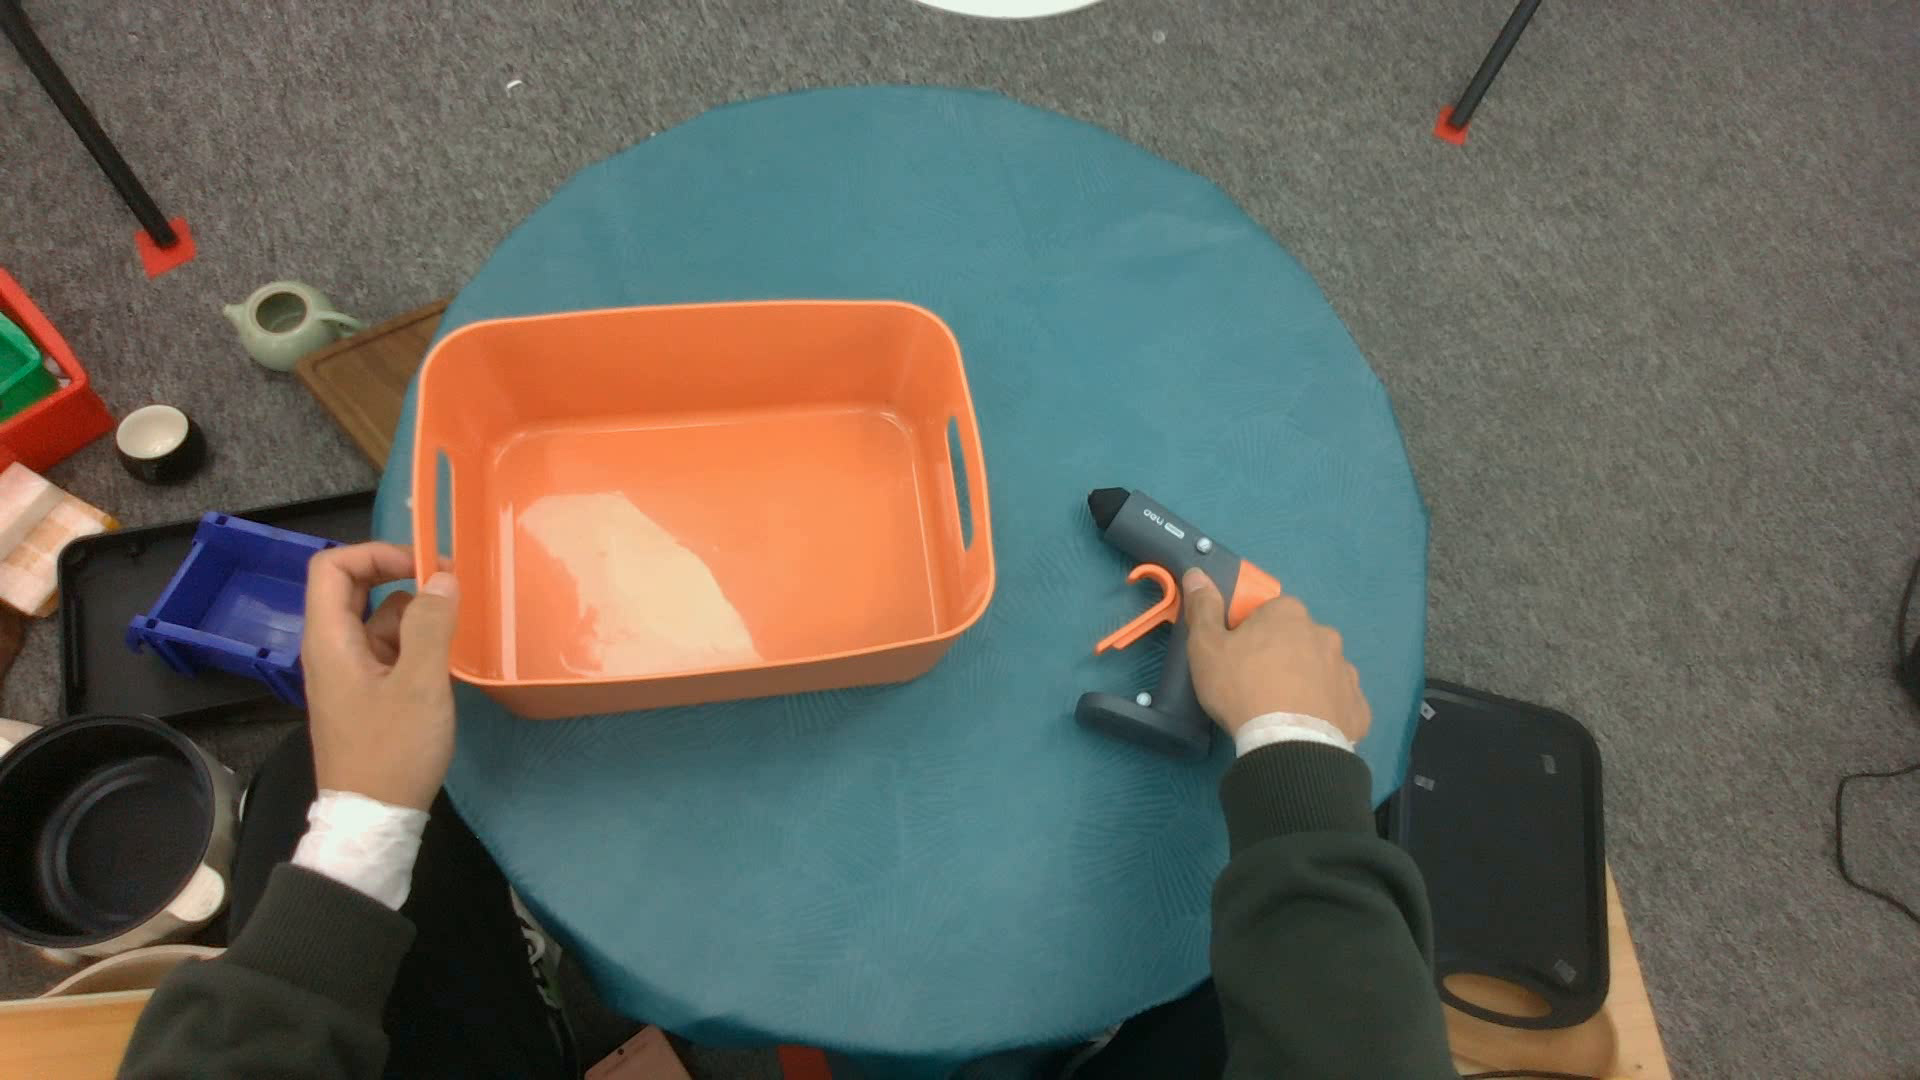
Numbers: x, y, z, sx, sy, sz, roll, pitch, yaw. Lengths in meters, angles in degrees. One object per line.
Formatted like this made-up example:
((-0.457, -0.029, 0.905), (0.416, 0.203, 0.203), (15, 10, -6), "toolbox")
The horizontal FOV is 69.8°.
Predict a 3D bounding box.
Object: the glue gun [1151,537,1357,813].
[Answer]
((0.154, 0.072, 0.770), (0.118, 0.041, 0.140), (20, 63, 3), "glue gun")

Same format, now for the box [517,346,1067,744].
((-0.087, 0.008, 0.738), (0.273, 0.102, 0.200), (-3, 66, -7), "box")
